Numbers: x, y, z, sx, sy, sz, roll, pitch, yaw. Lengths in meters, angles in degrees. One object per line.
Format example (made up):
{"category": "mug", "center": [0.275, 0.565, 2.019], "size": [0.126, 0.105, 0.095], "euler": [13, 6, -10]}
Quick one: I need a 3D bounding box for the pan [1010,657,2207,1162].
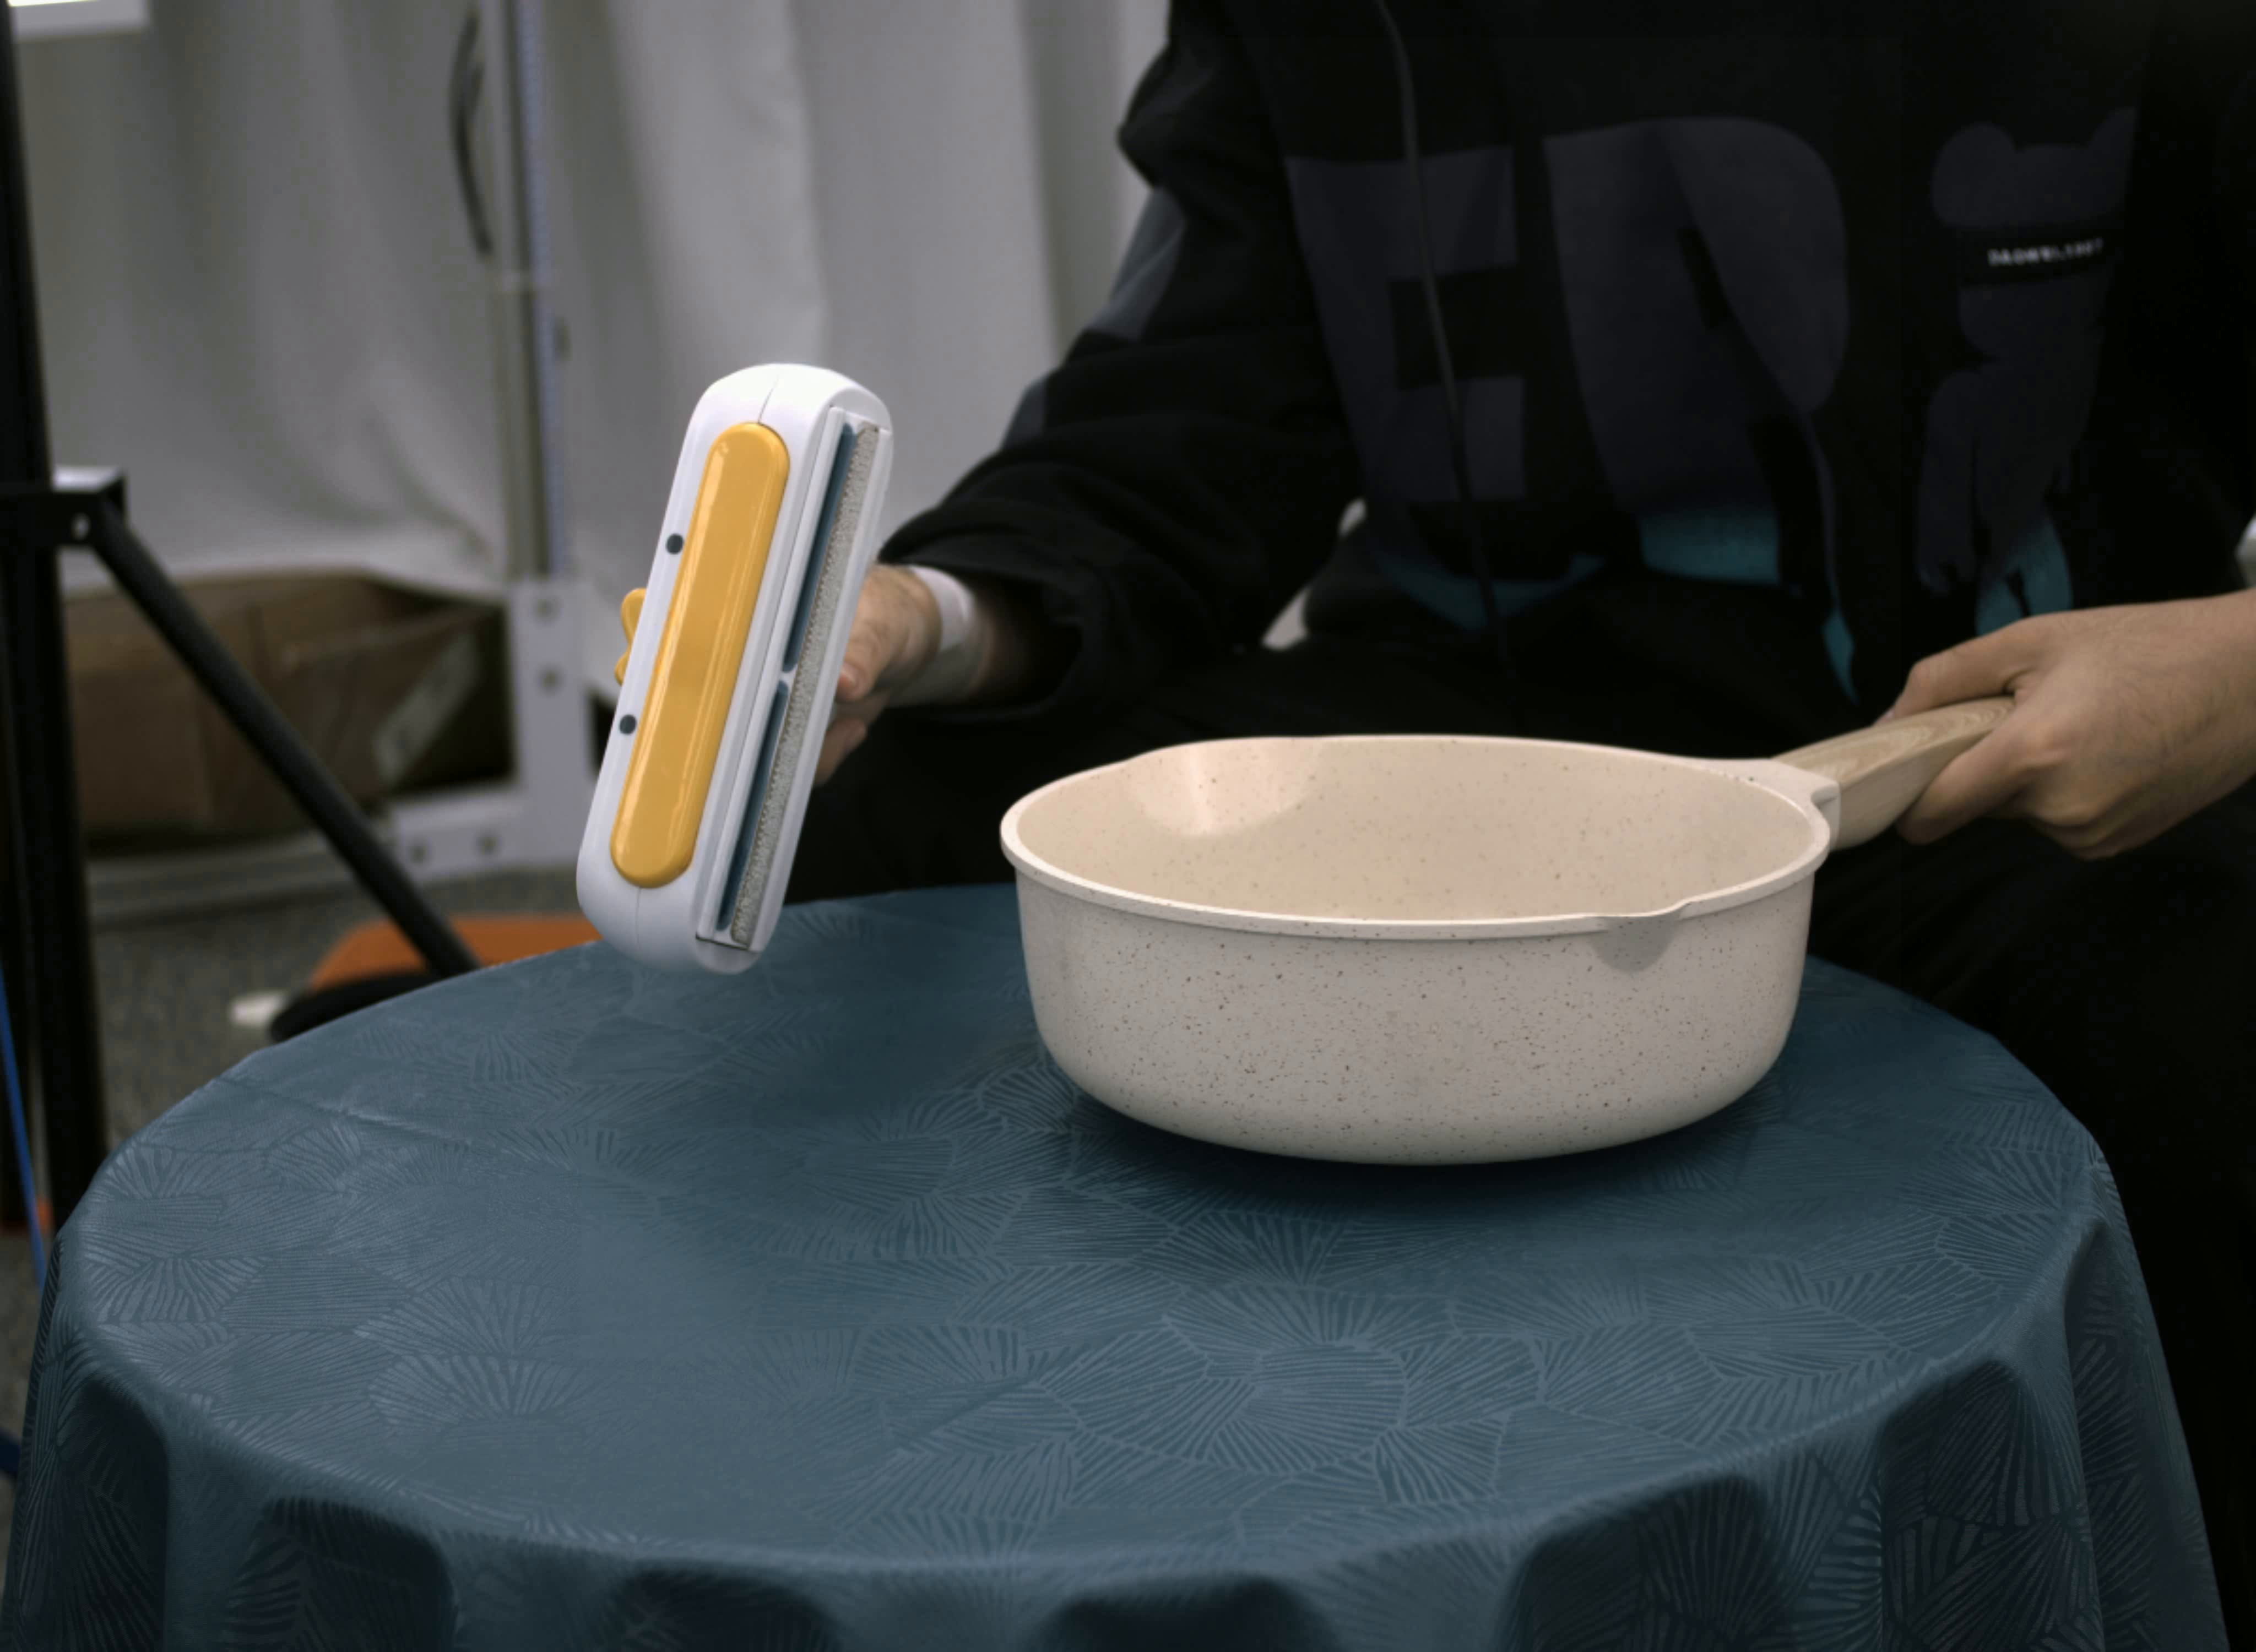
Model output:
{"category": "pan", "center": [0.169, 0.022, 1.650], "size": [0.425, 0.102, 0.269], "euler": [-8, 12, -27]}

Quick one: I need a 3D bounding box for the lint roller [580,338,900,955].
{"category": "lint roller", "center": [-0.112, -0.047, 1.711], "size": [0.075, 0.194, 0.189], "euler": [9, -8, 16]}
